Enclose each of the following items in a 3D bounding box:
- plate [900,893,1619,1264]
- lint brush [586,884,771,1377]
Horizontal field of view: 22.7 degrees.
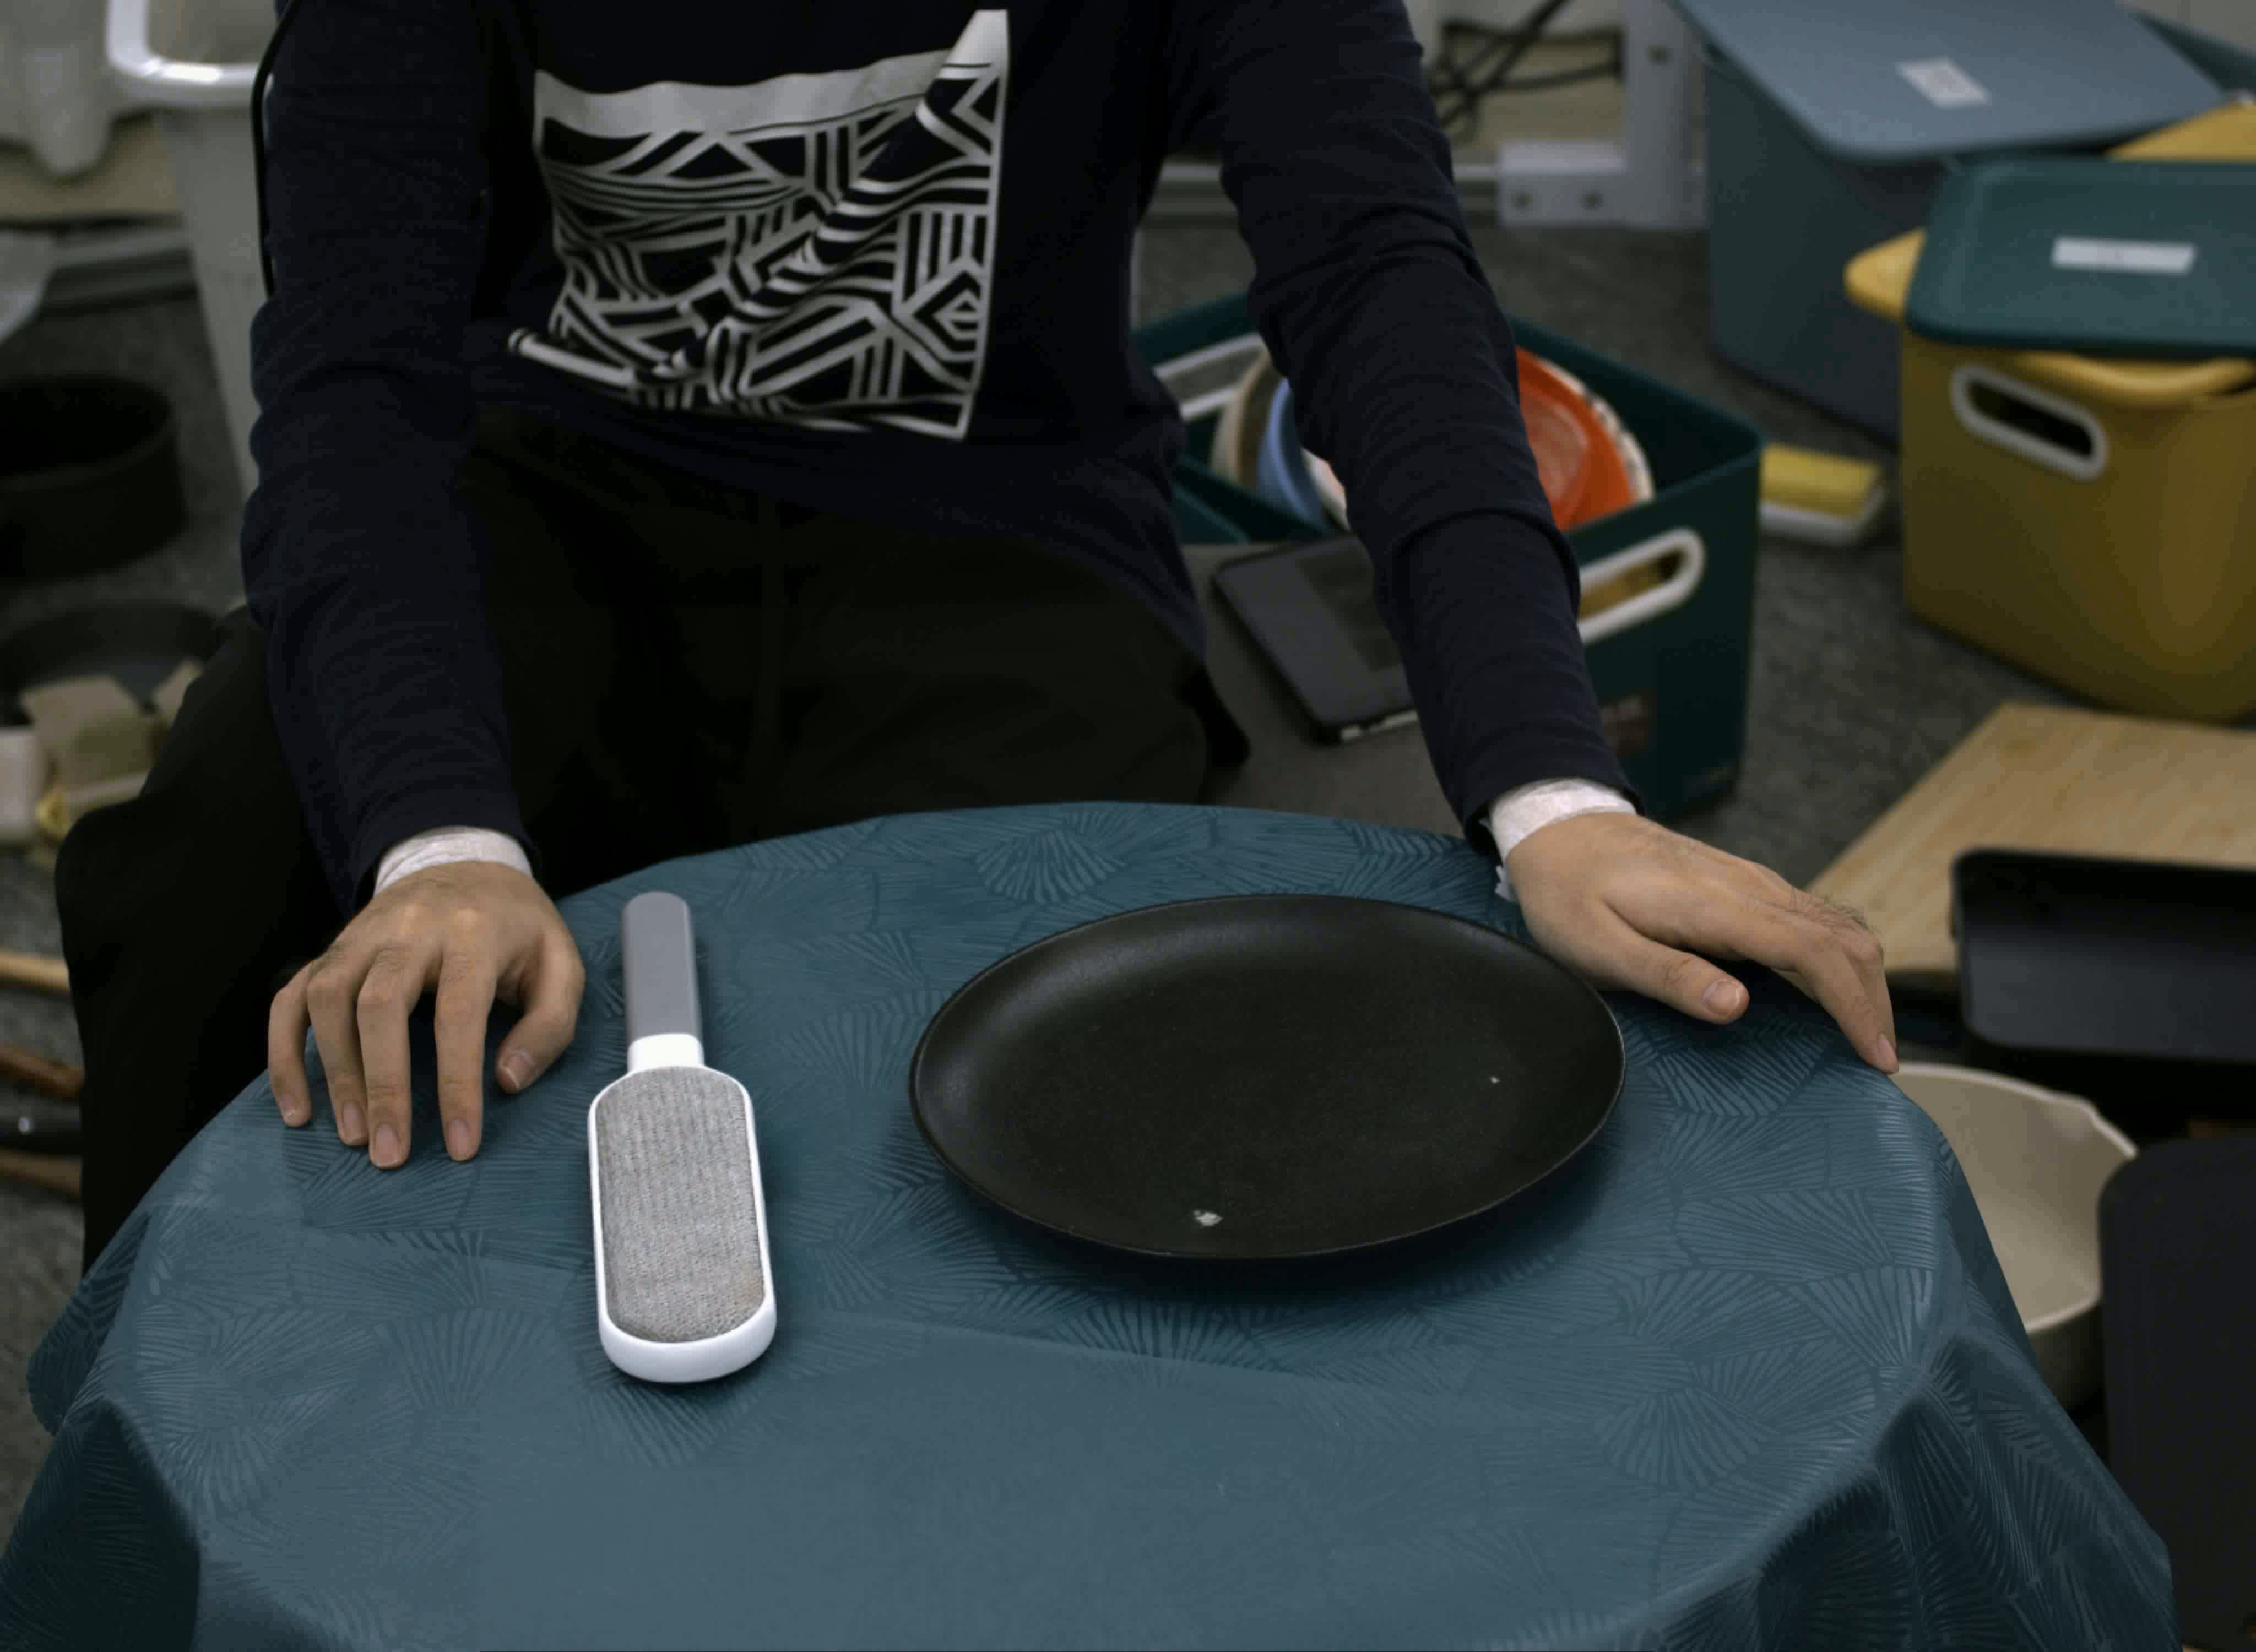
[{"bbox_3d":[0.044,0.089,1.896,0.243,0.023,0.248,-2,27,1],"label":"plate"},{"bbox_3d":[-0.153,0.098,1.893,0.060,0.021,0.313,-10,28,-2],"label":"lint brush"}]
